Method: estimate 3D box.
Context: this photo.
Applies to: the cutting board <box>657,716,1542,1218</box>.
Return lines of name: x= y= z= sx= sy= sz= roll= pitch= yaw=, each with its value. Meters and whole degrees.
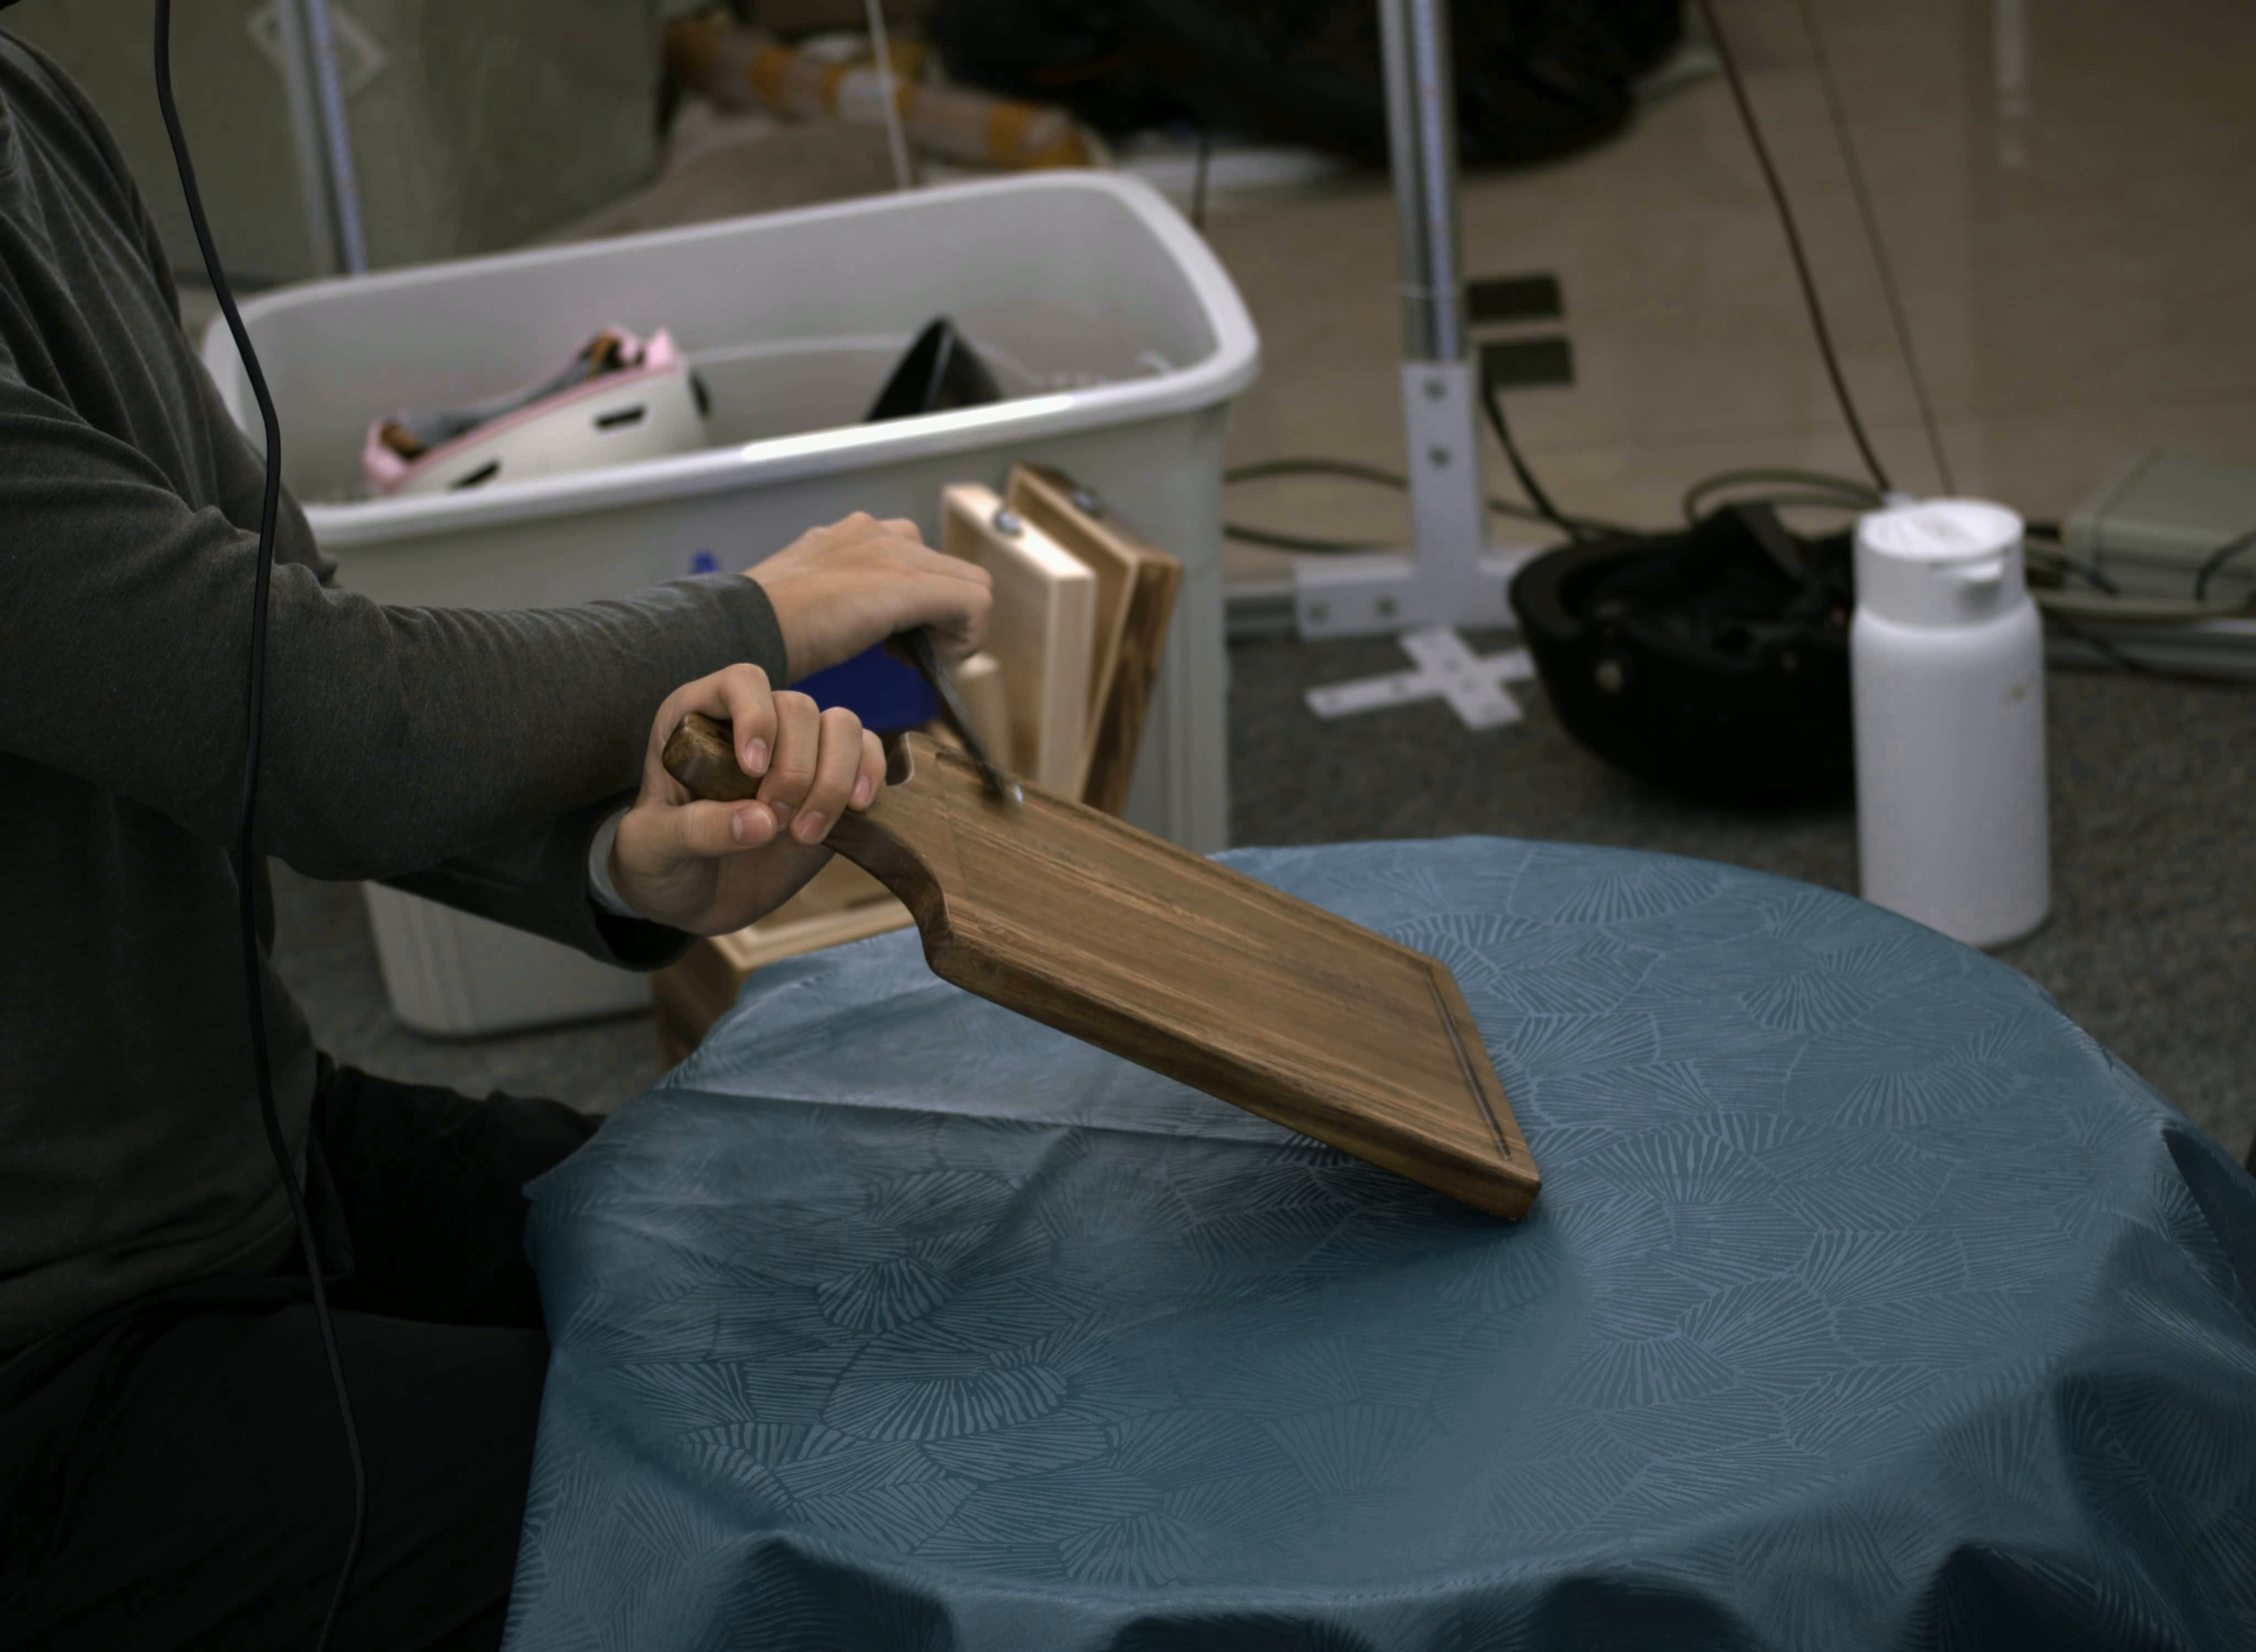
cutting board: x=-0.015 y=0.035 z=2.124 sx=0.353 sy=0.023 sz=0.198 roll=23 pitch=19 yaw=-18

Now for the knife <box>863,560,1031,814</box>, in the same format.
knife: x=-0.072 y=-0.057 z=2.253 sx=0.024 sy=0.016 sz=0.234 roll=23 pitch=17 yaw=-26
